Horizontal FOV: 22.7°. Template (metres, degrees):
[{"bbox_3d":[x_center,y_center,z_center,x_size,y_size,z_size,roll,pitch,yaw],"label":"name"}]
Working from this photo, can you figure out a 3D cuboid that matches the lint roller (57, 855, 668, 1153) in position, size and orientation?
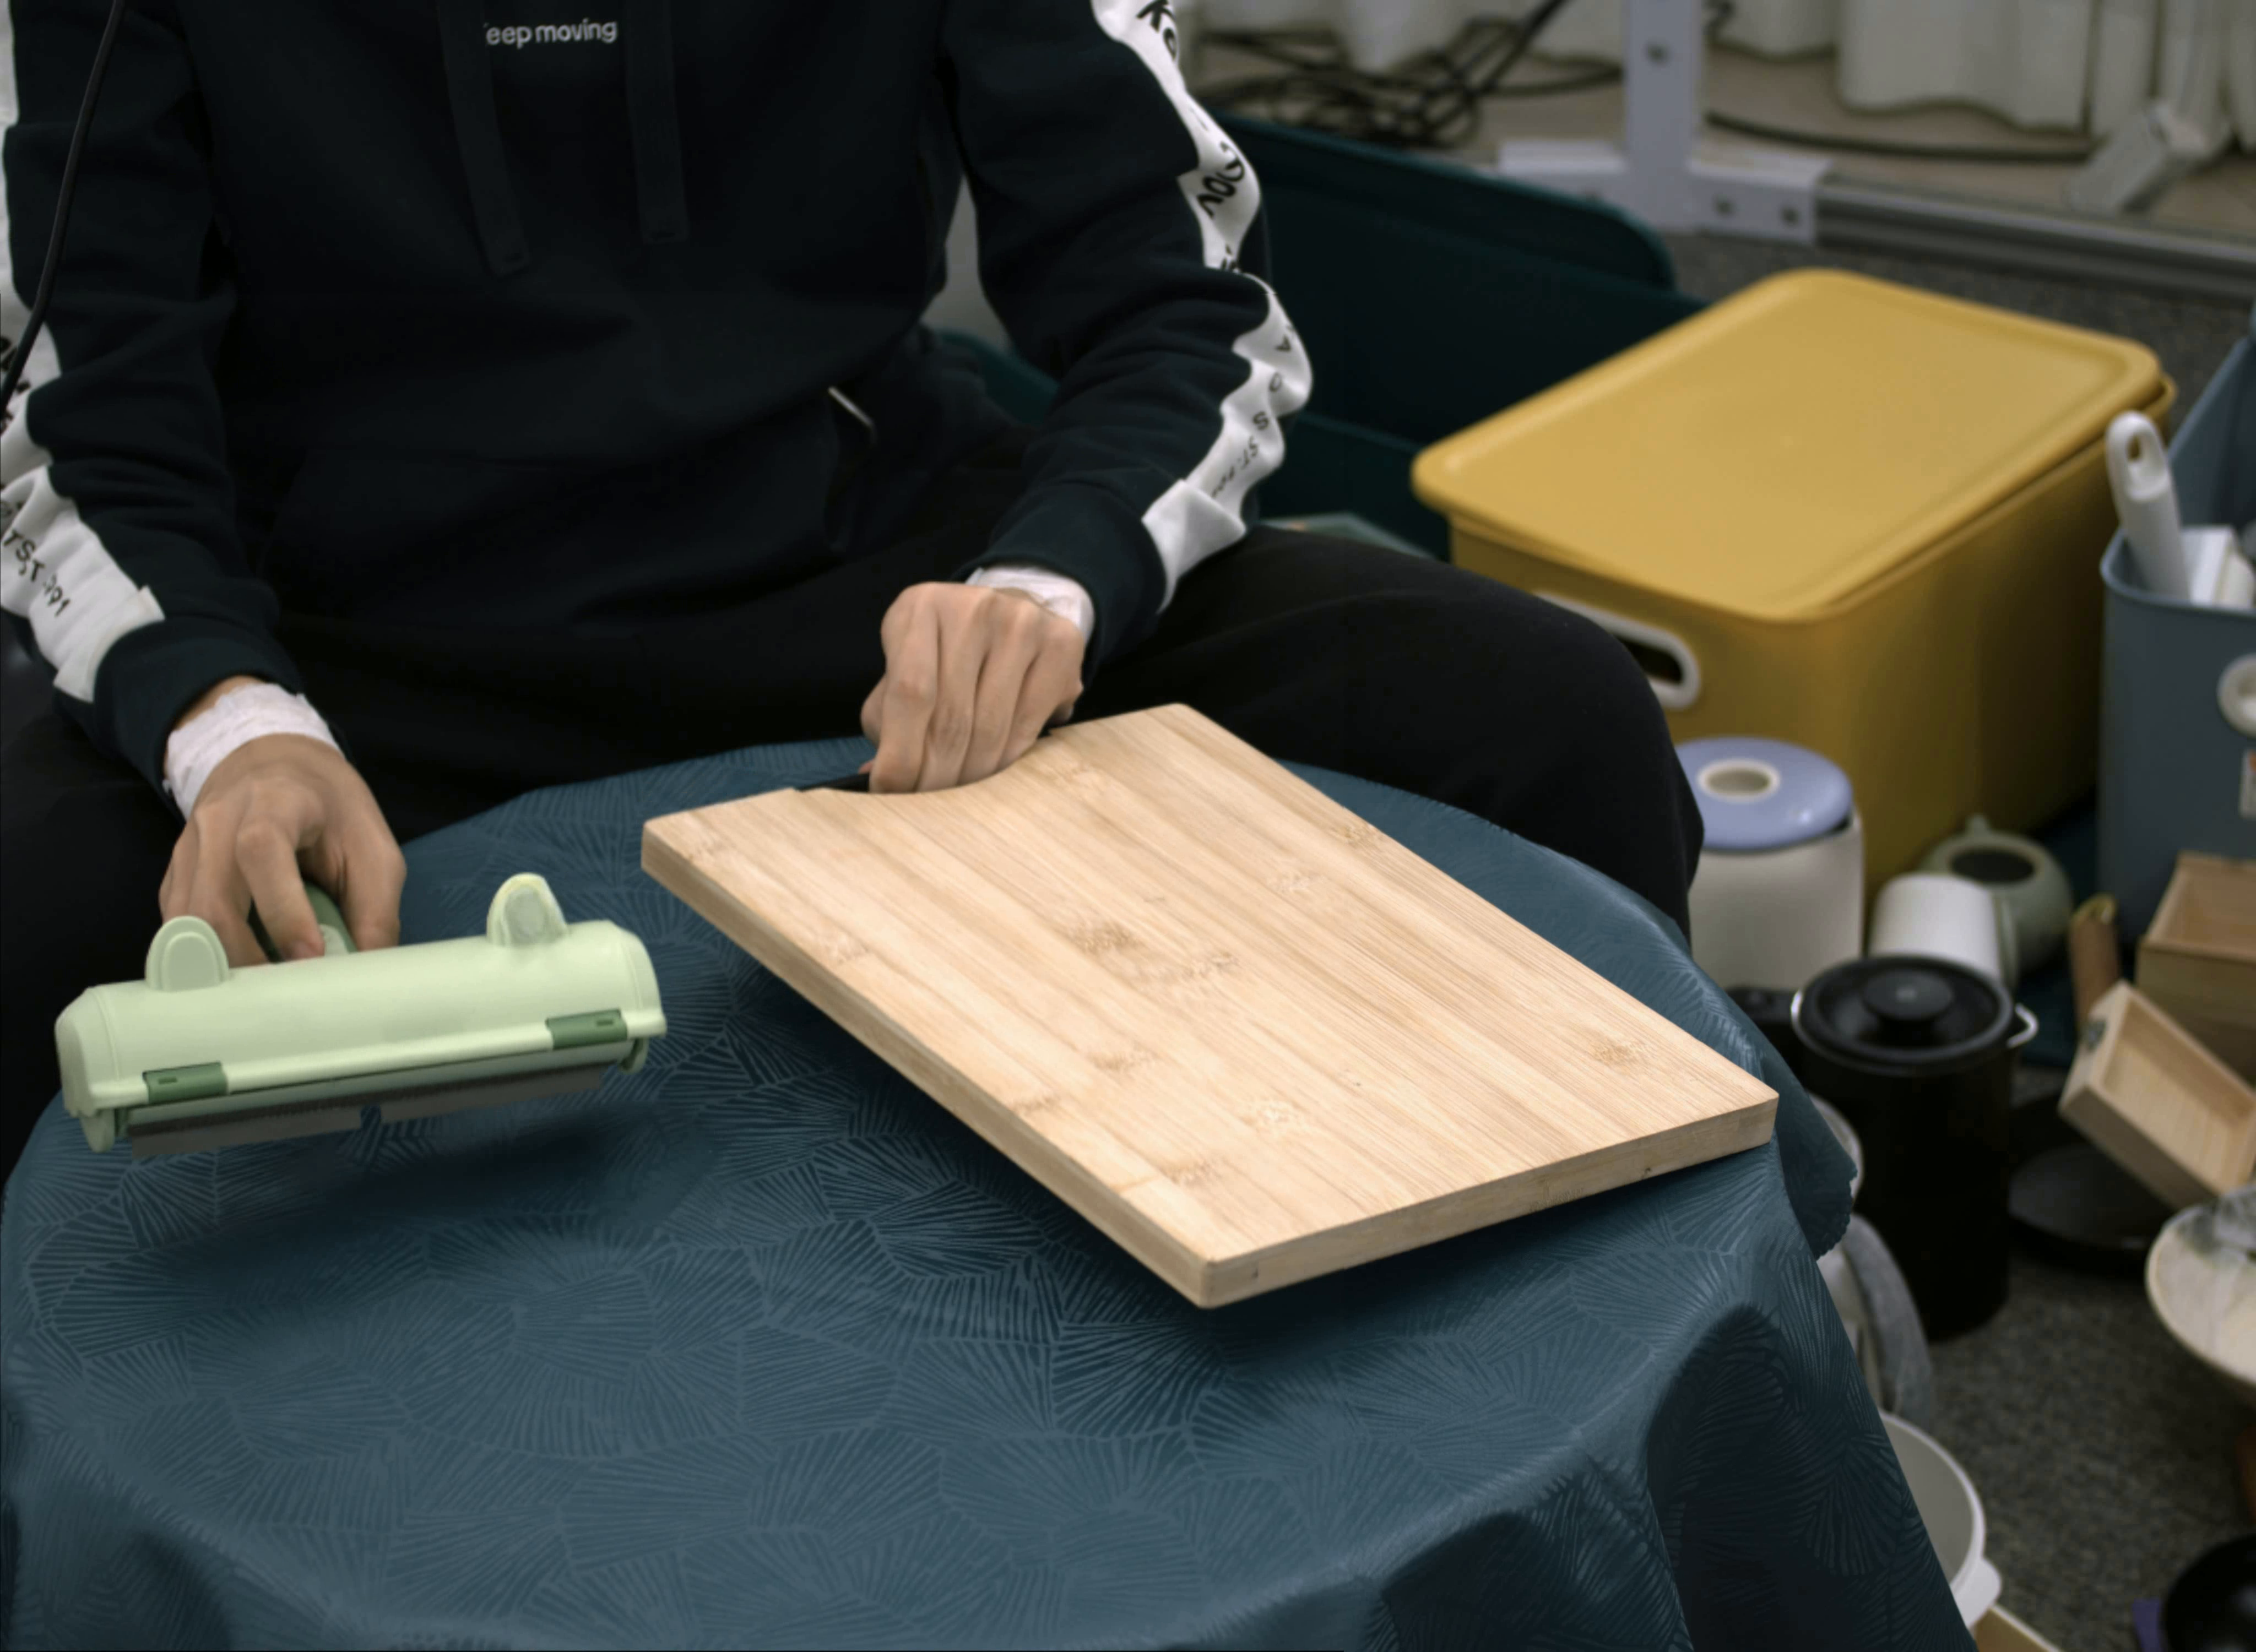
[{"bbox_3d":[-0.273,0.035,1.900,0.199,0.081,0.185,-8,32,-22],"label":"lint roller"}]

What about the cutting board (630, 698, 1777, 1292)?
[{"bbox_3d":[0.019,0.050,1.924,0.252,0.023,0.349,-12,31,-35],"label":"cutting board"}]
